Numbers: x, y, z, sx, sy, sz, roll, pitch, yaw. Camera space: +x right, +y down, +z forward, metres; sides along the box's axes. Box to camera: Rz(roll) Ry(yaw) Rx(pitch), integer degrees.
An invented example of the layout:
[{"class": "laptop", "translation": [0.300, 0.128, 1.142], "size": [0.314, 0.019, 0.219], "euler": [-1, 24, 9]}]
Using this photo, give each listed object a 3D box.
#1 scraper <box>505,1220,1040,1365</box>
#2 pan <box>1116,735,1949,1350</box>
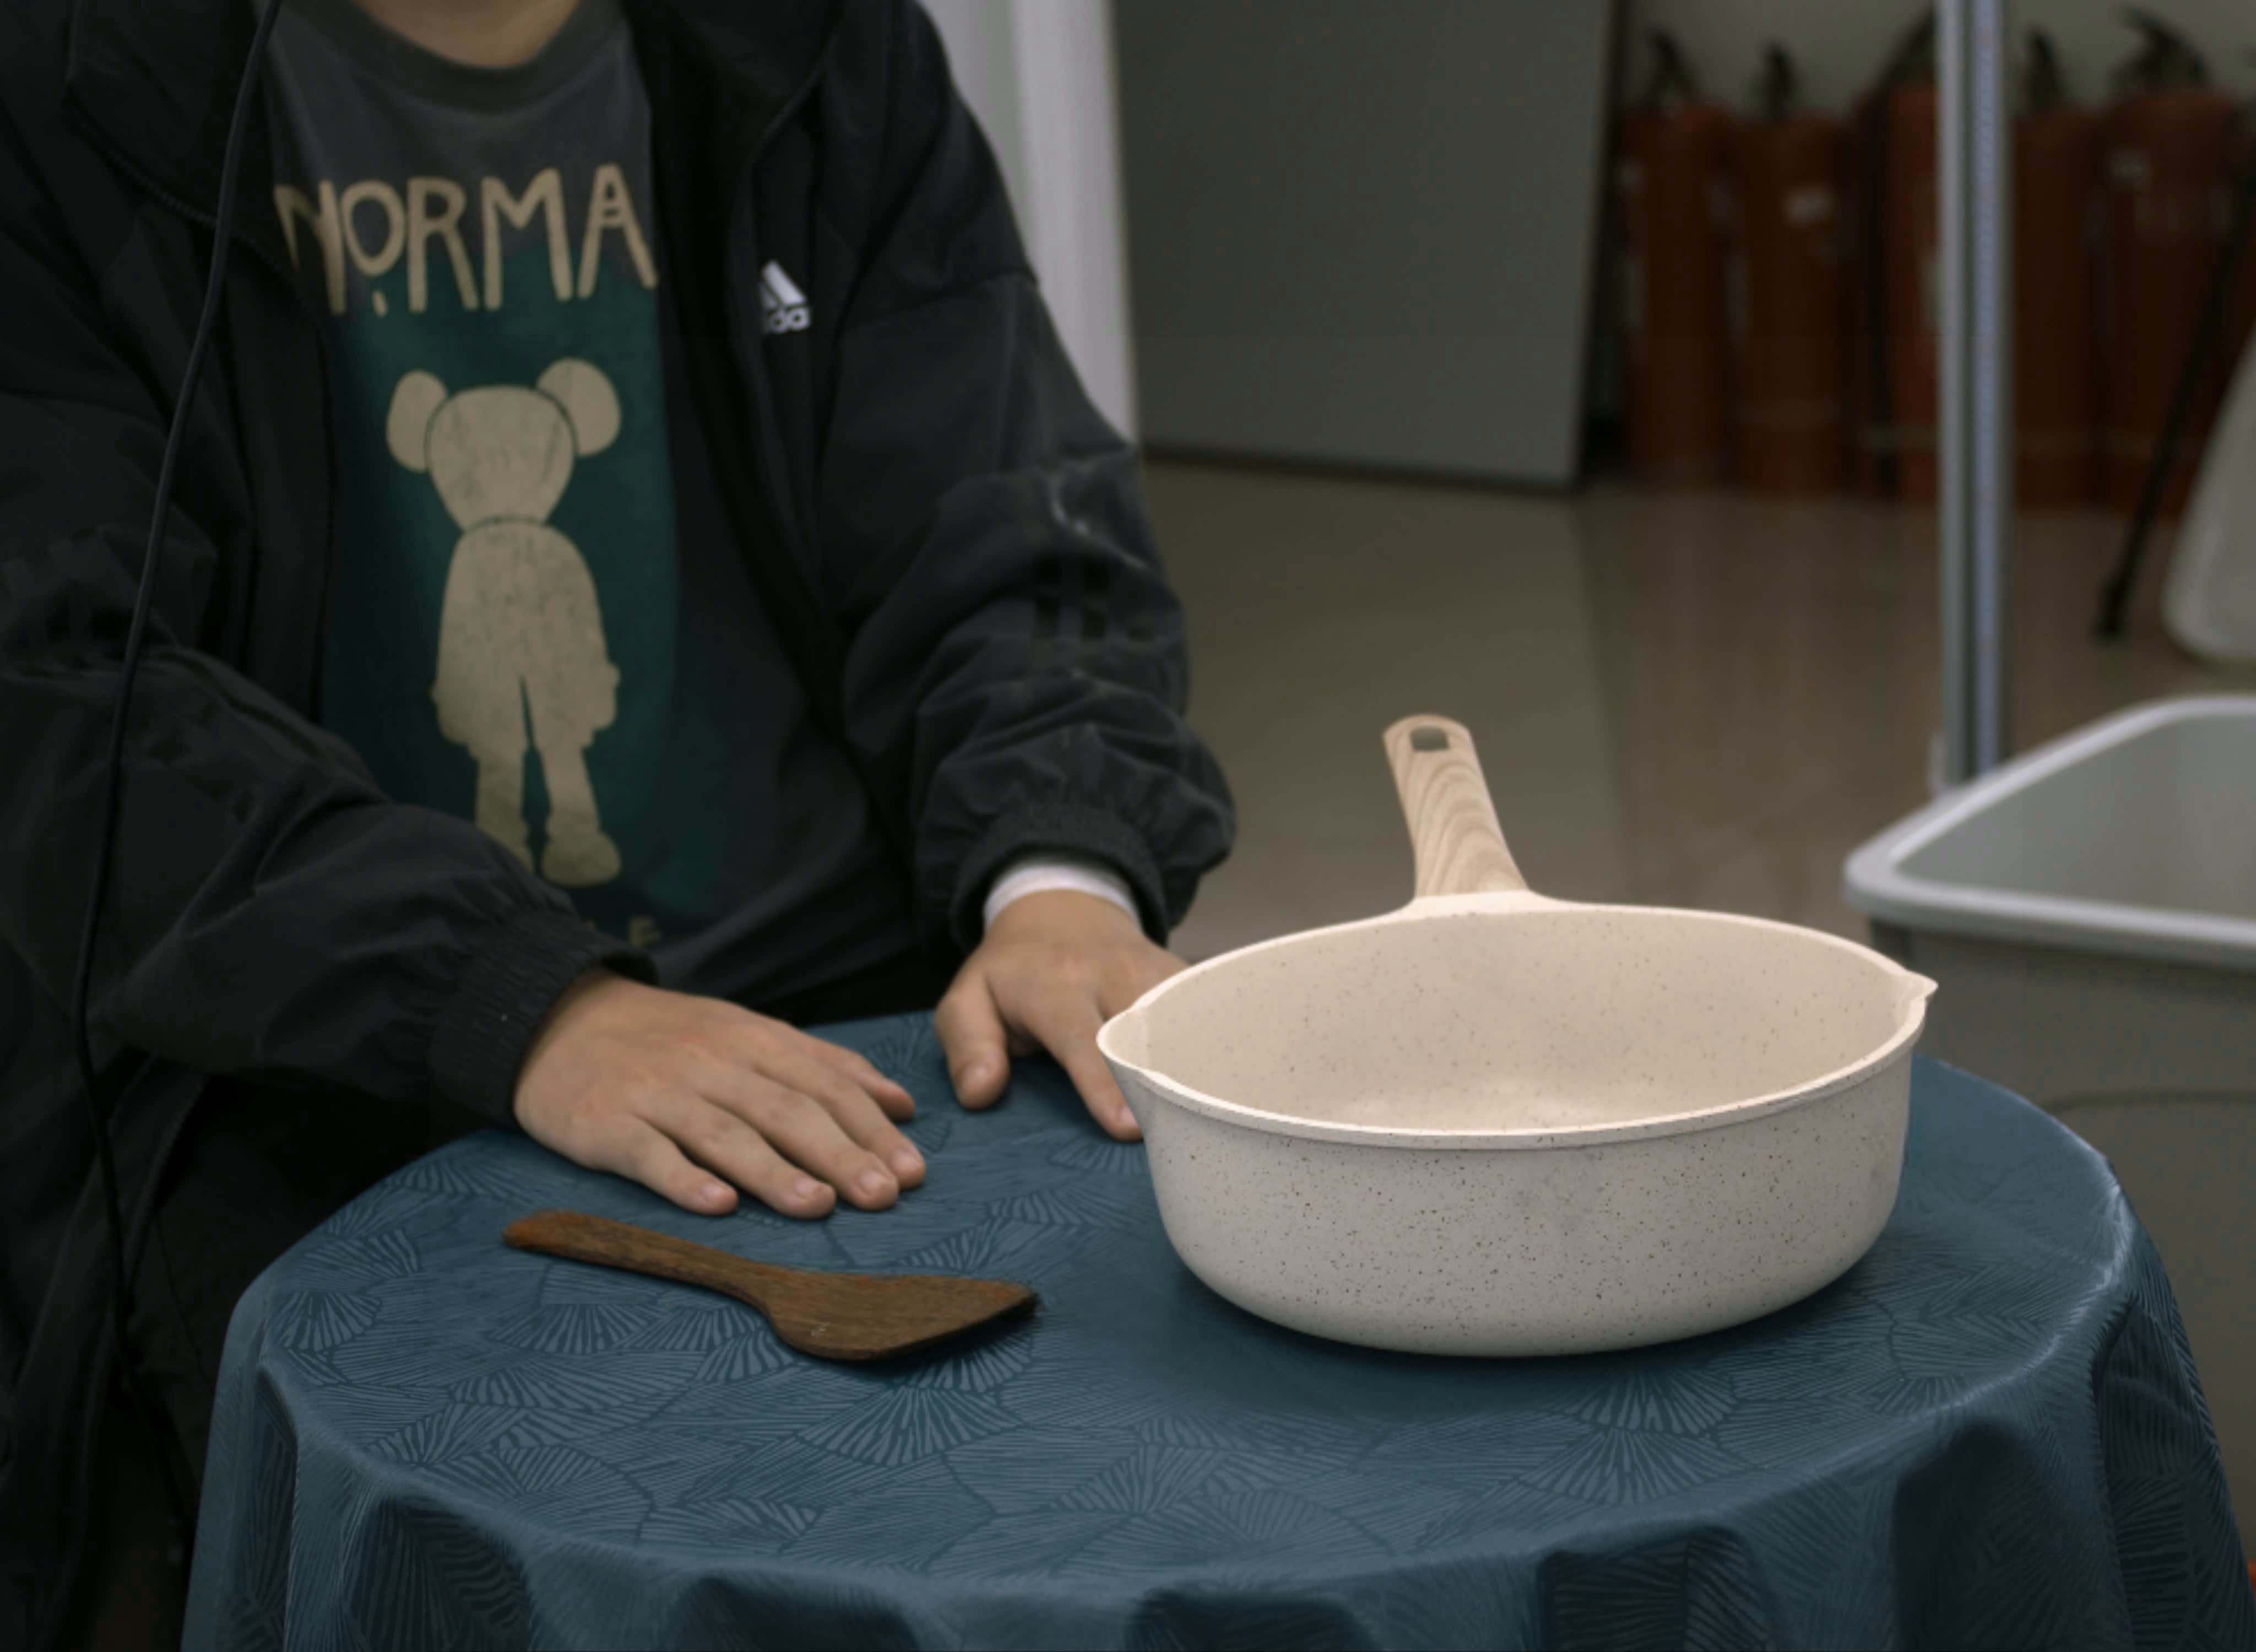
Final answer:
[{"class": "scraper", "translation": [-0.121, 0.144, 1.701], "size": [0.213, 0.011, 0.074], "euler": [8, 17, 44]}, {"class": "pan", "translation": [0.123, 0.065, 1.757], "size": [0.260, 0.103, 0.436], "euler": [-6, 13, -1]}]
